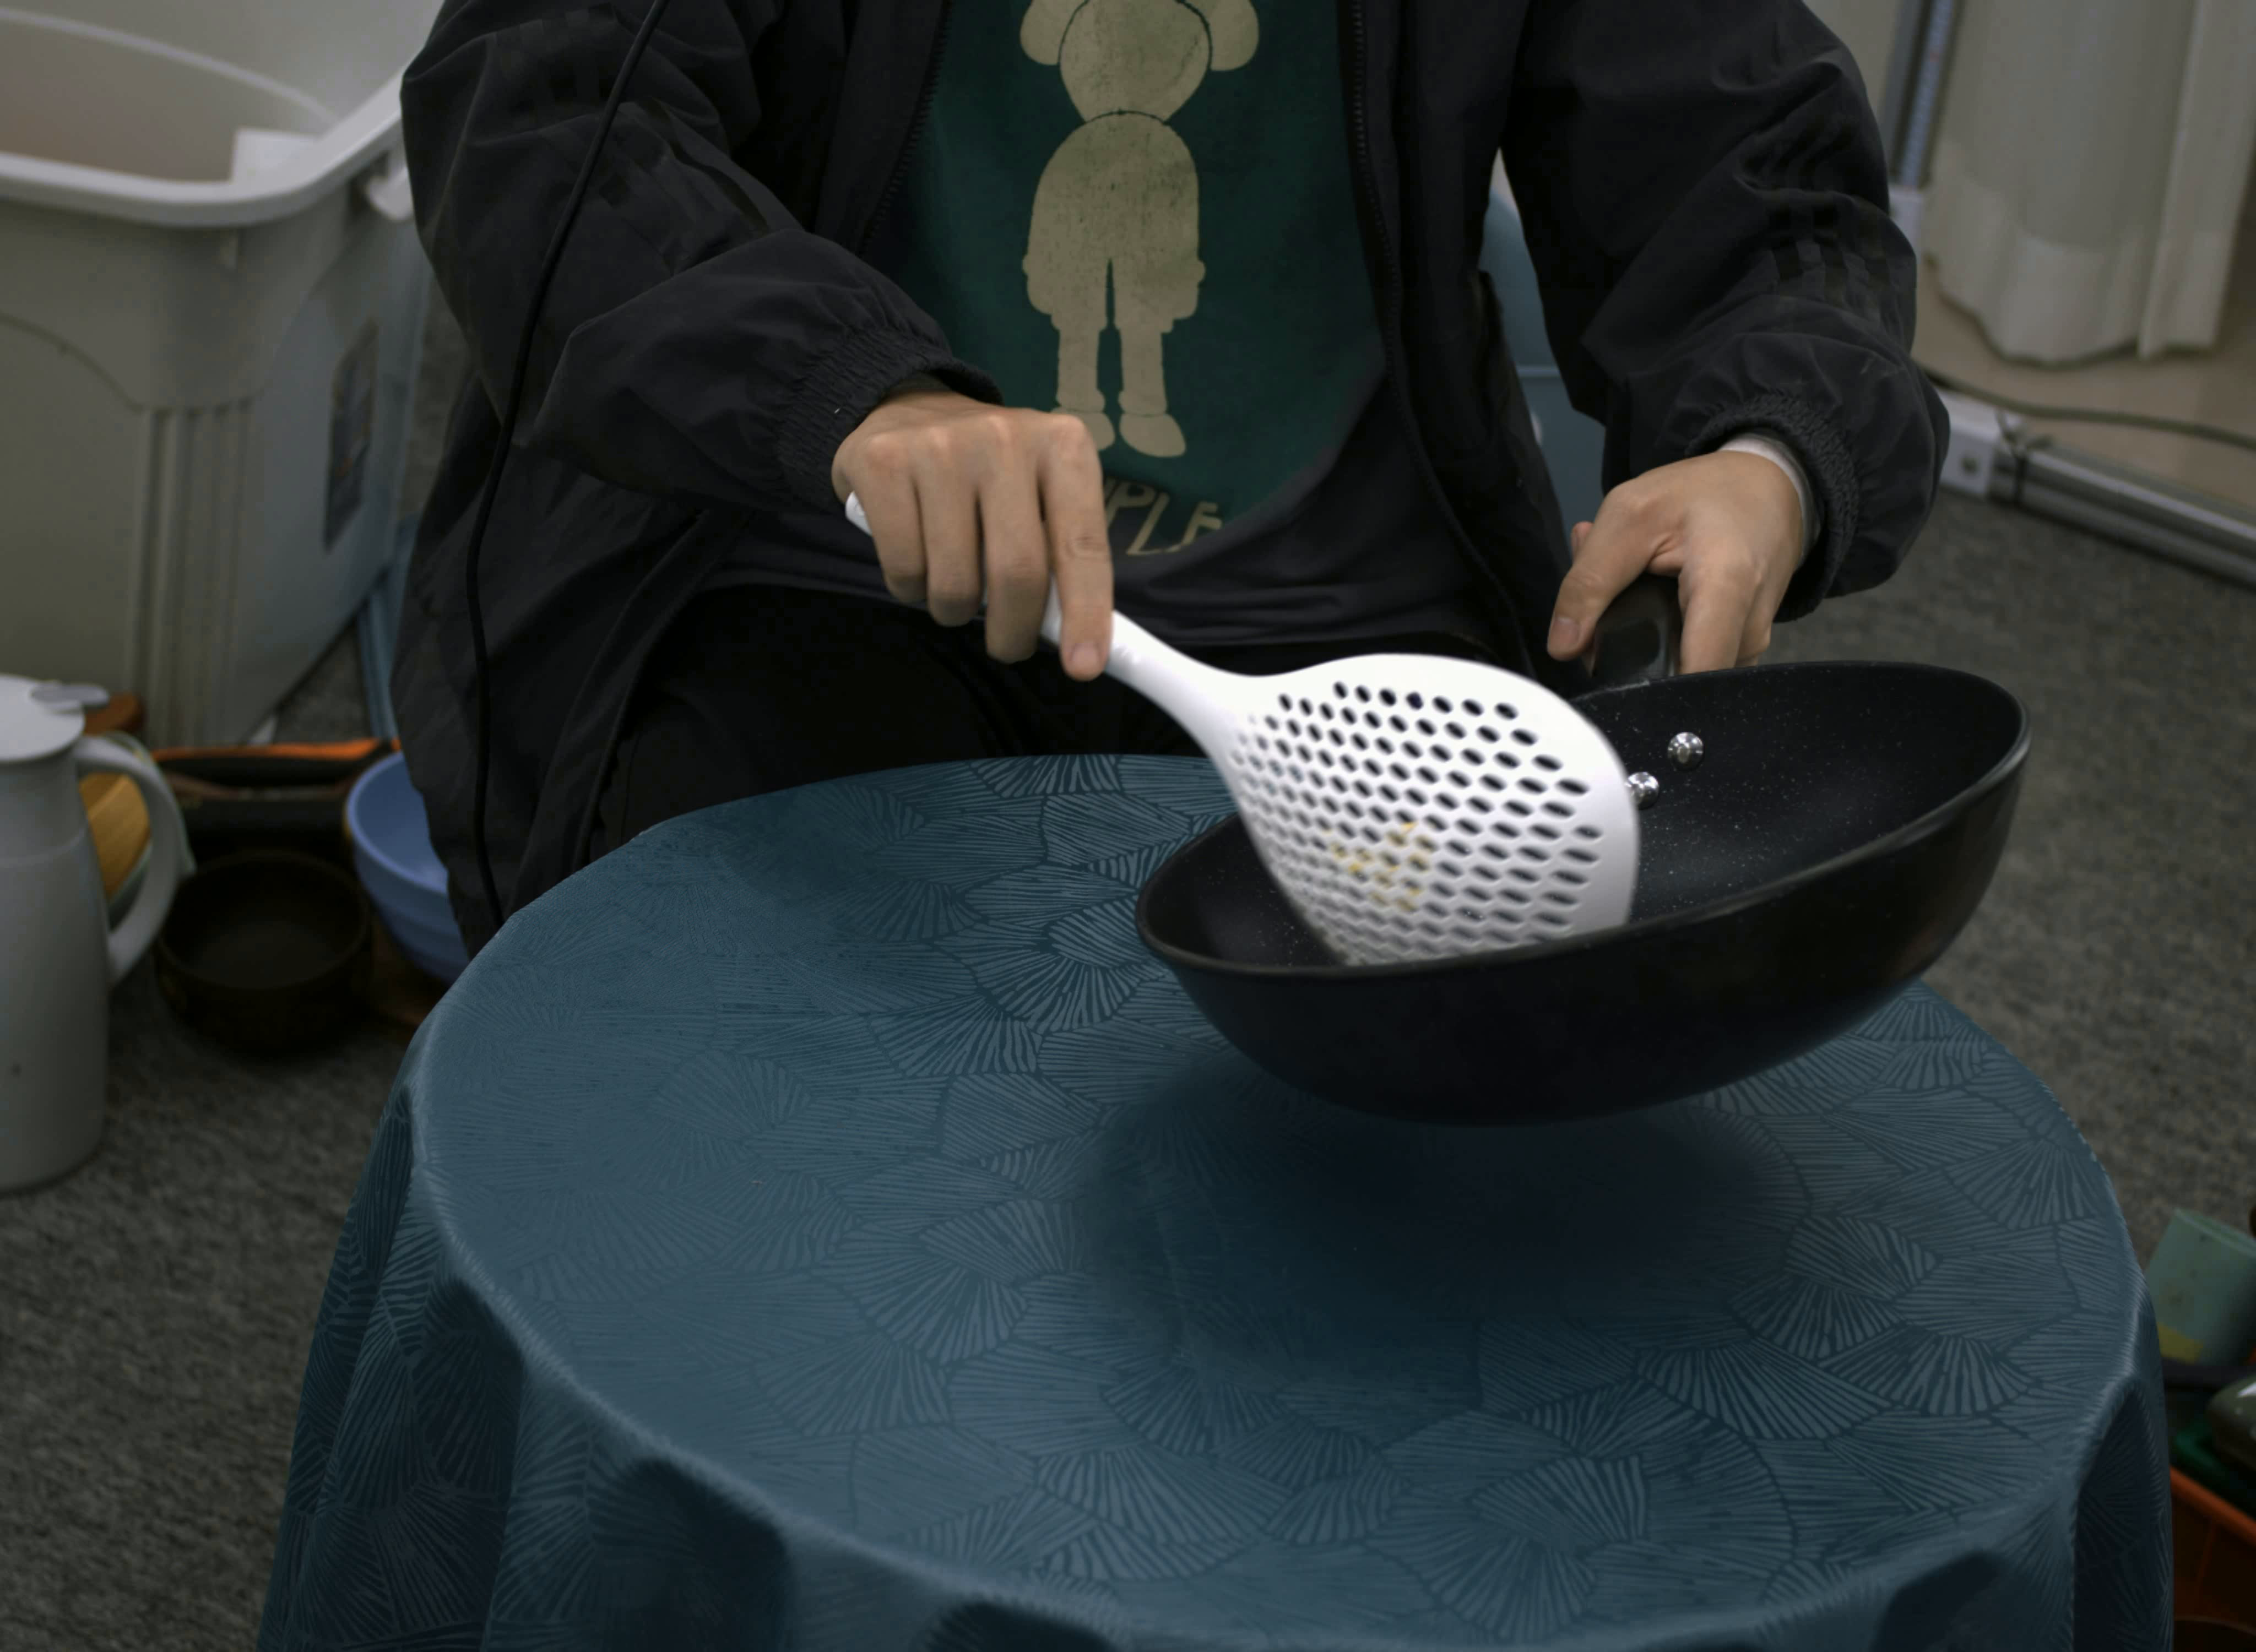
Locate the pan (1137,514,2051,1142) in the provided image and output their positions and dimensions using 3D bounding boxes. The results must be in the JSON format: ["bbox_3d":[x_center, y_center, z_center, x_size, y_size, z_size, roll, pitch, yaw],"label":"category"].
[{"bbox_3d":[0.175,0.001,1.867,0.310,0.111,0.477,-9,15,14],"label":"pan"}]

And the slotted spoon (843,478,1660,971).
[{"bbox_3d":[0.034,-0.038,1.867,0.350,0.136,0.050,33,28,33],"label":"slotted spoon"}]
